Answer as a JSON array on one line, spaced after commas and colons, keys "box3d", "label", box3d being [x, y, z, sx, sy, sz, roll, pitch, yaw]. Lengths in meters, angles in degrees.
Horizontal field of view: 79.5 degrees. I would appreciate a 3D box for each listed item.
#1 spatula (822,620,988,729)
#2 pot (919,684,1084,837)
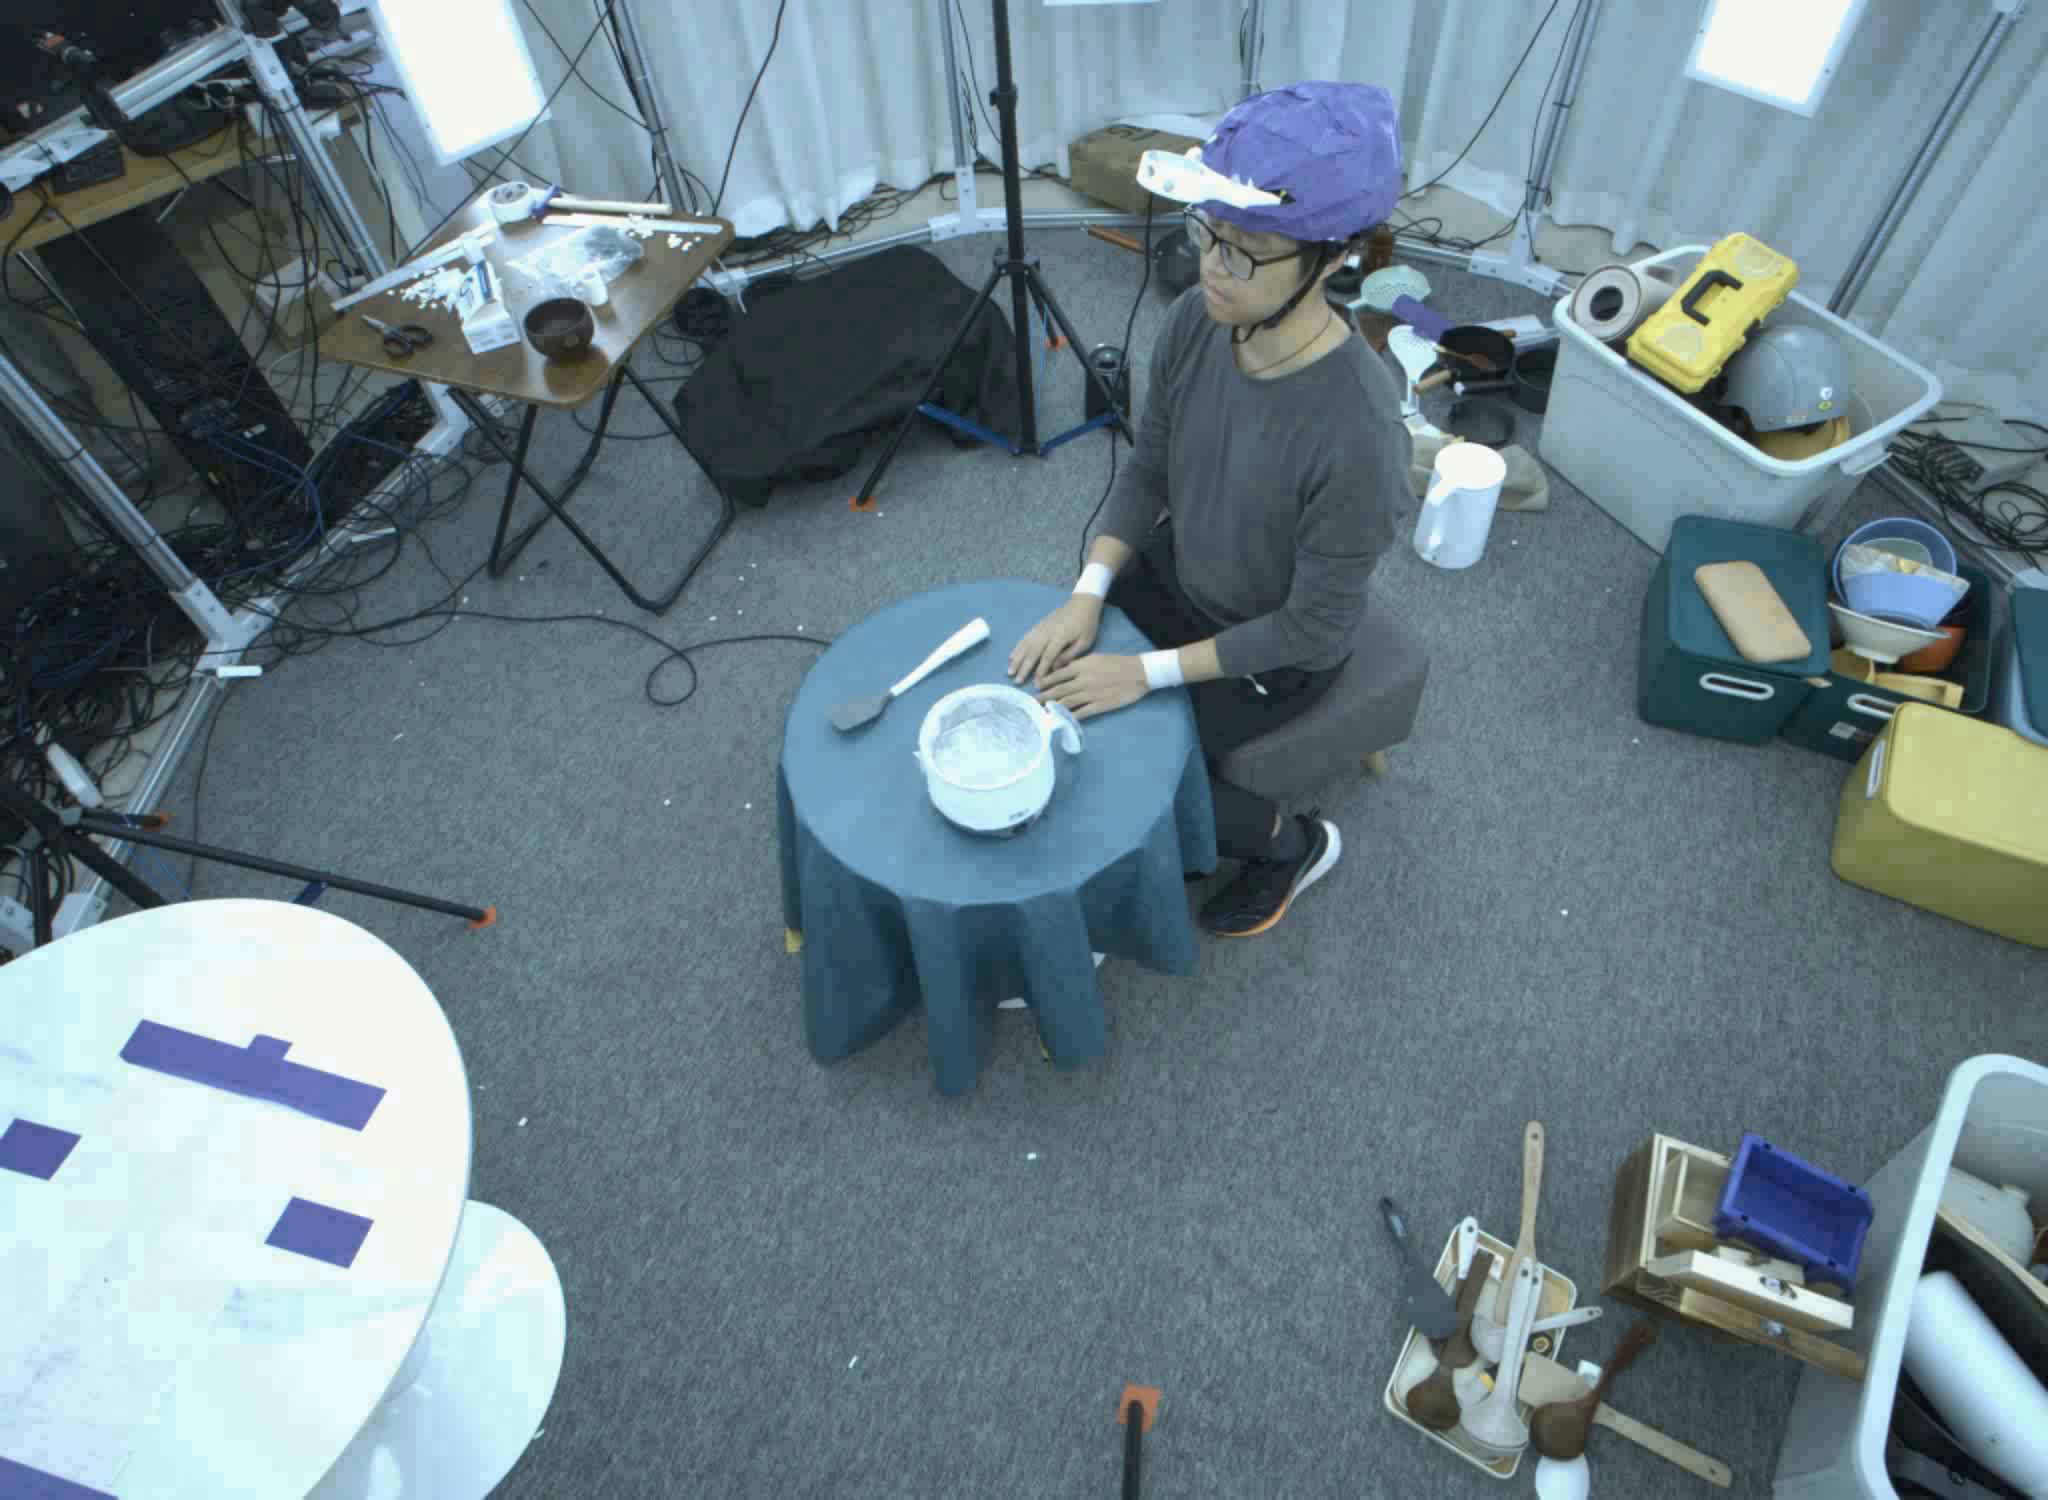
[{"box3d": [-0.176, -0.114, 1.861, 0.290, 0.032, 0.058, -34, 64, -22], "label": "spatula"}, {"box3d": [-0.024, 0.005, 1.707, 0.235, 0.138, 0.175, -26, 58, -15], "label": "pot"}]
